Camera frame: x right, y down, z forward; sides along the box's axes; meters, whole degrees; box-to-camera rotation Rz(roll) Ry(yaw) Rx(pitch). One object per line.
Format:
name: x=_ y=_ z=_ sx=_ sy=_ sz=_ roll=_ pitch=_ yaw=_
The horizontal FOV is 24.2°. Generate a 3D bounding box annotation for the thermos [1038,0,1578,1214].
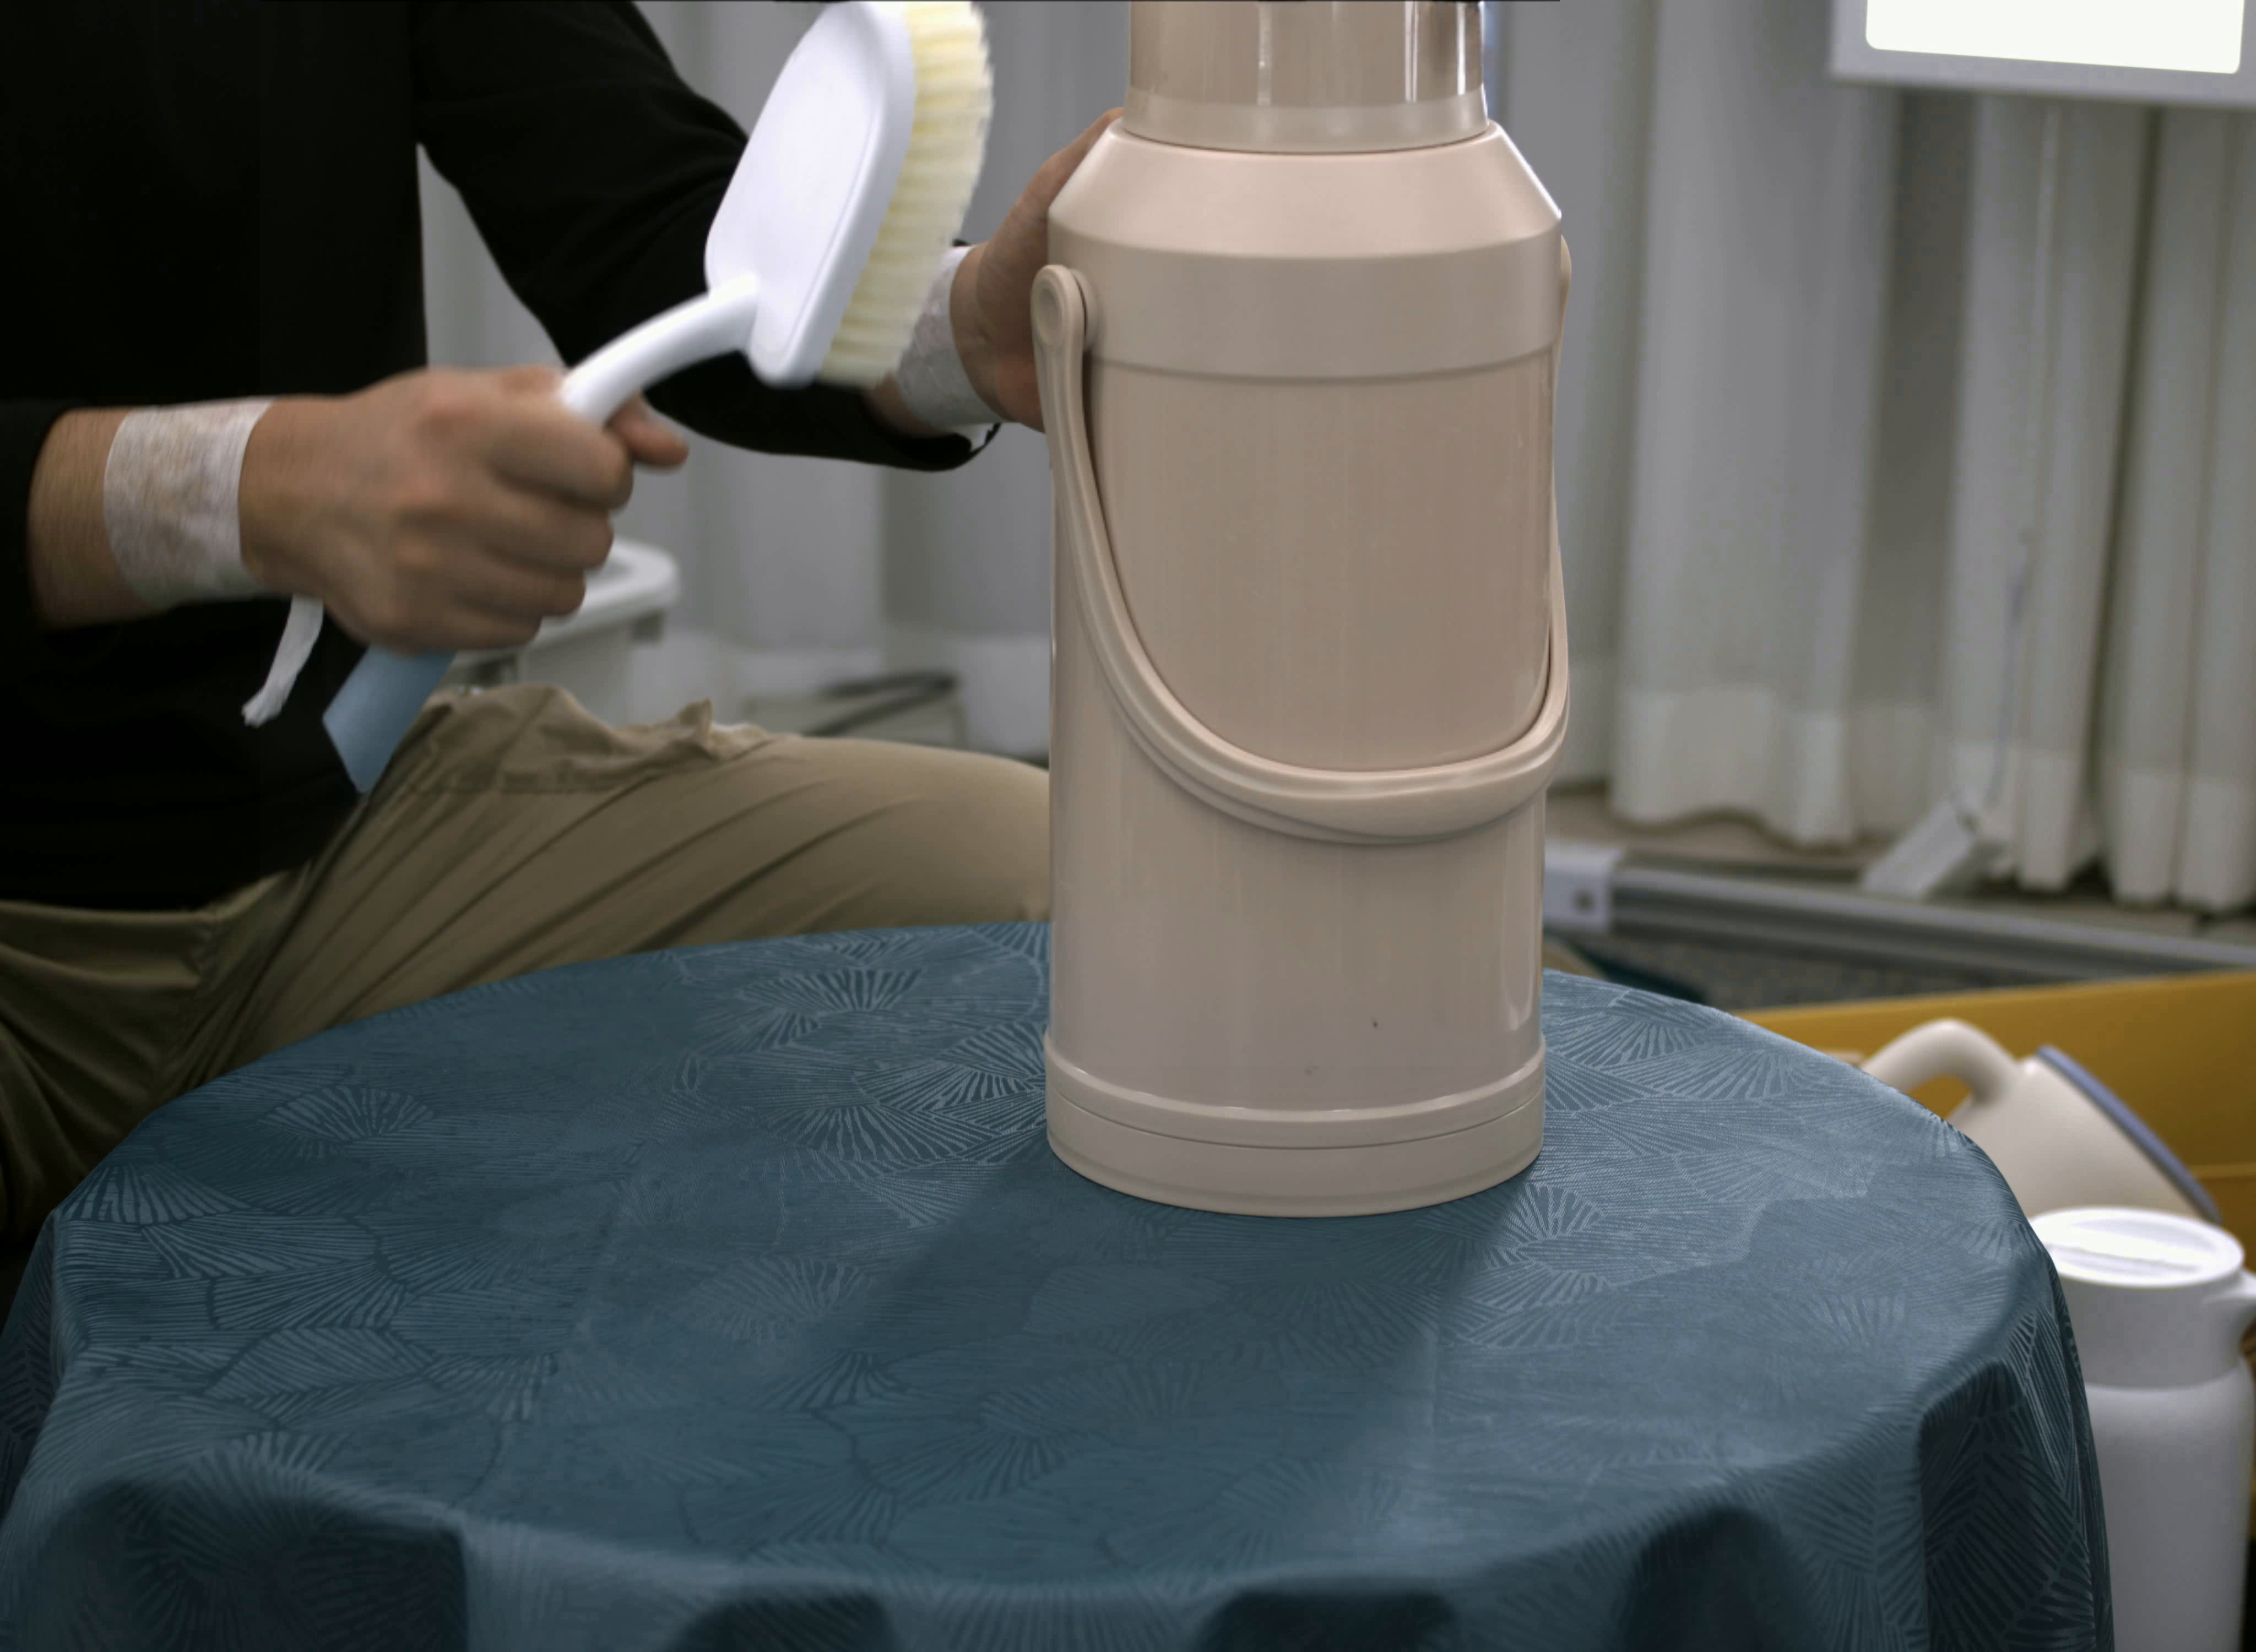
thermos: x=0.050 y=-0.097 z=1.632 sx=0.176 sy=0.410 sz=0.204 roll=-10 pitch=19 yaw=-27

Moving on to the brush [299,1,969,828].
brush: x=-0.141 y=-0.119 z=1.593 sx=0.085 sy=0.326 sz=0.082 roll=32 pitch=26 yaw=-12
